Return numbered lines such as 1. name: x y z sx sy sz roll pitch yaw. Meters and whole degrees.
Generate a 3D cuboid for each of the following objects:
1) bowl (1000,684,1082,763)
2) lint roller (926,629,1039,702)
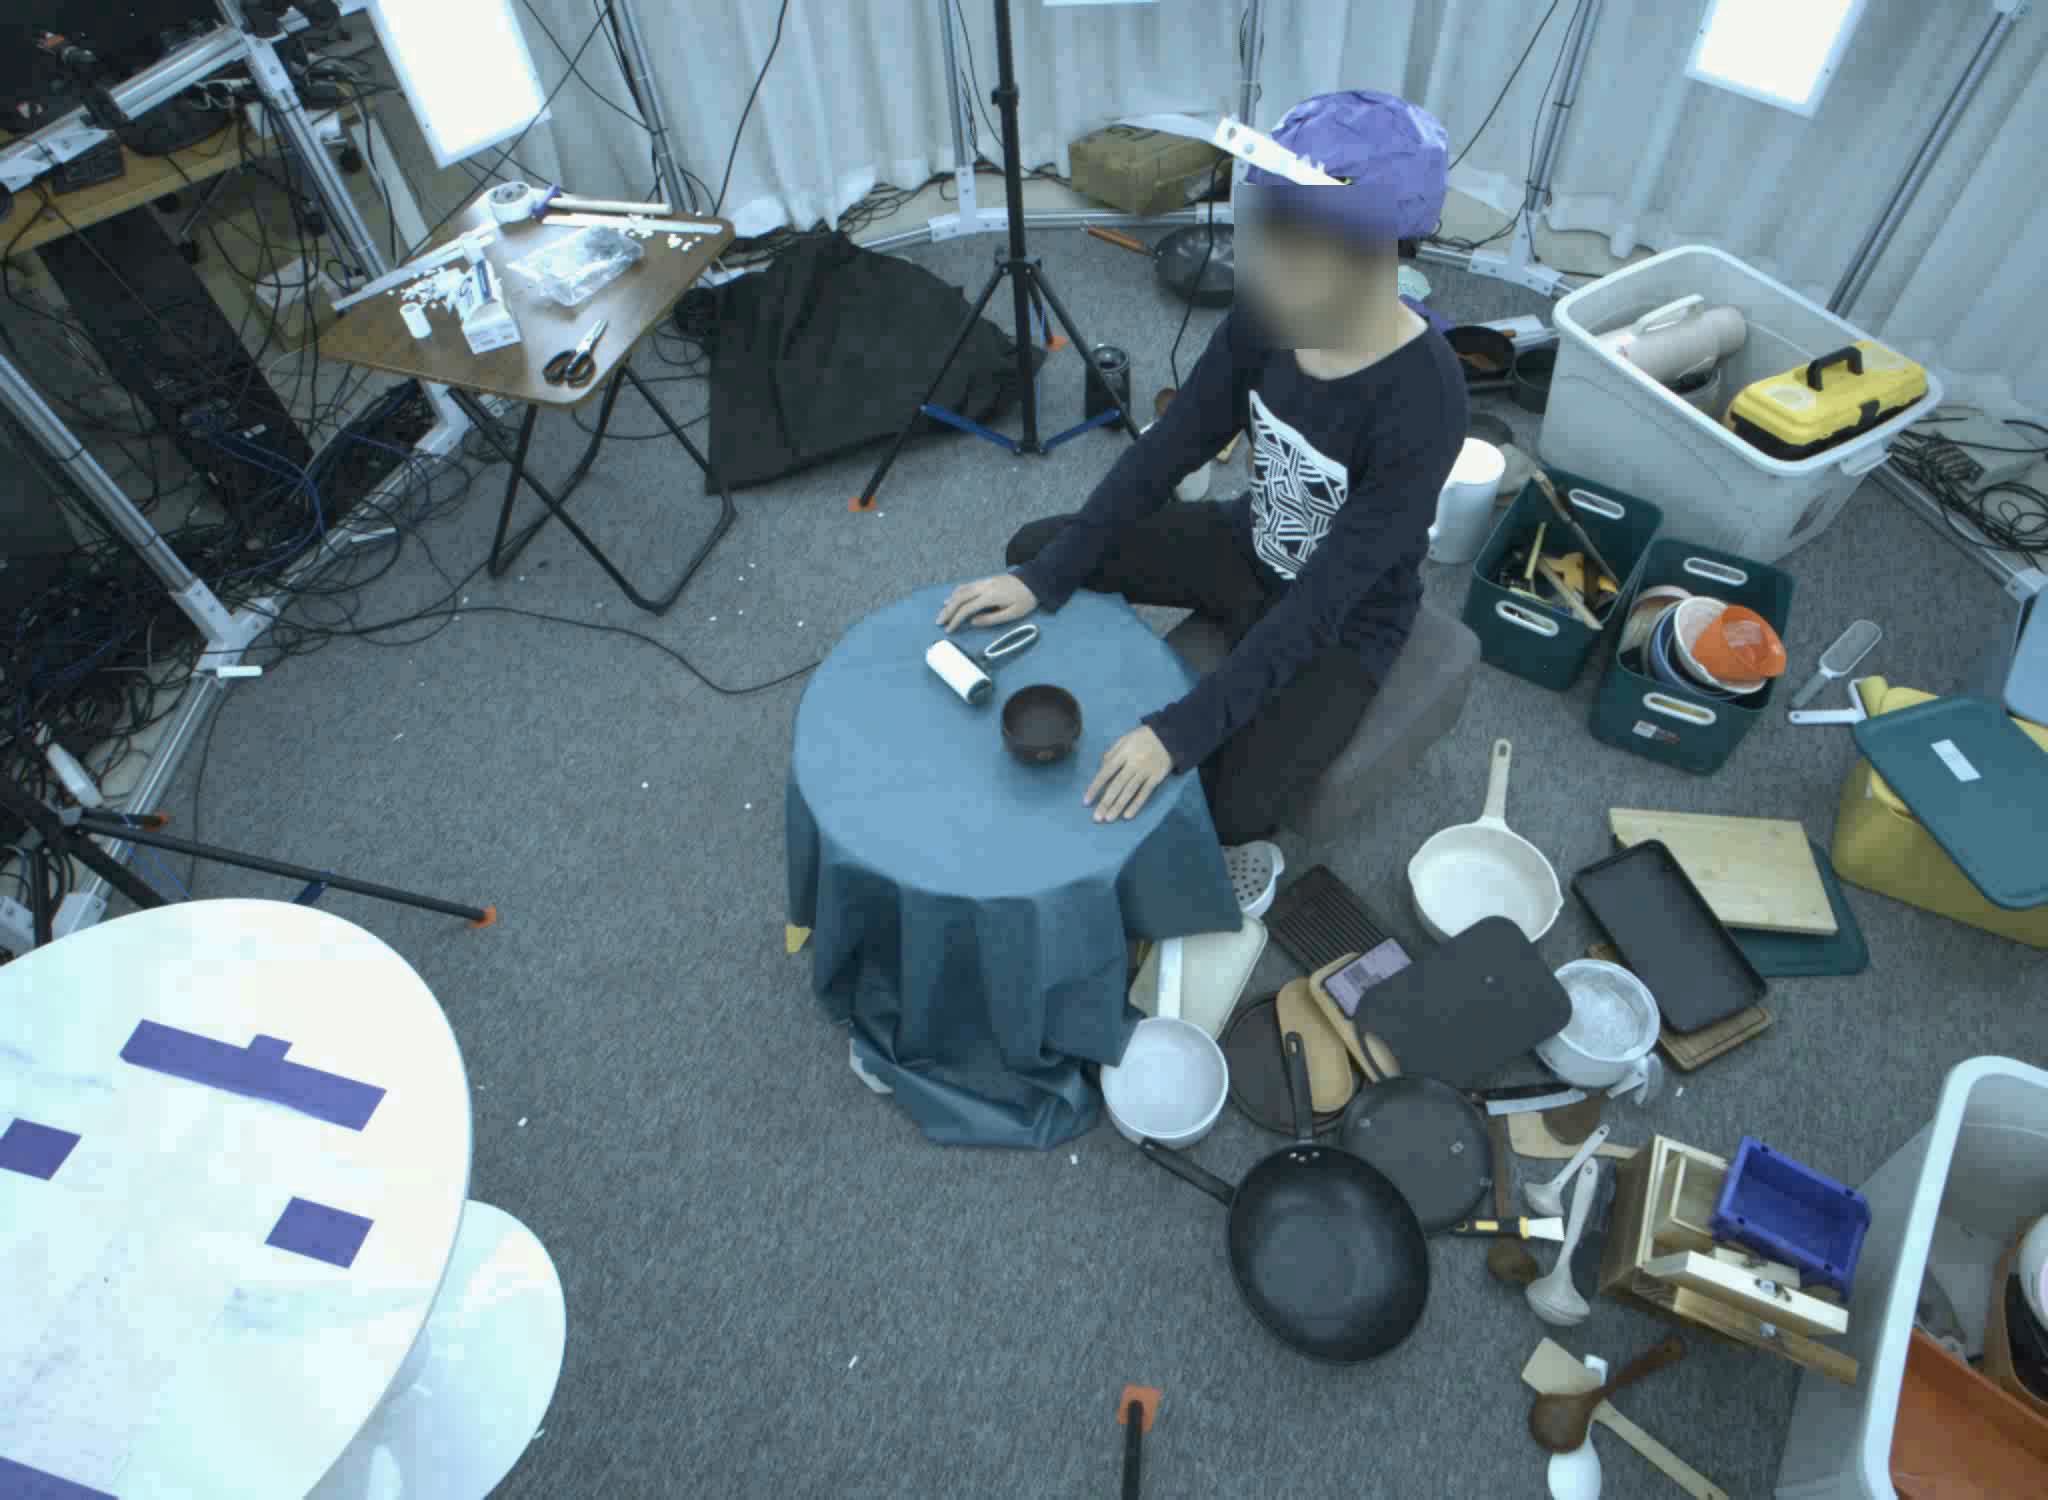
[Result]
1. bowl: 0.025 -0.031 1.772 0.118 0.070 0.117 0 51 1
2. lint roller: -0.048 -0.153 1.881 0.182 0.049 0.132 -34 60 -24
